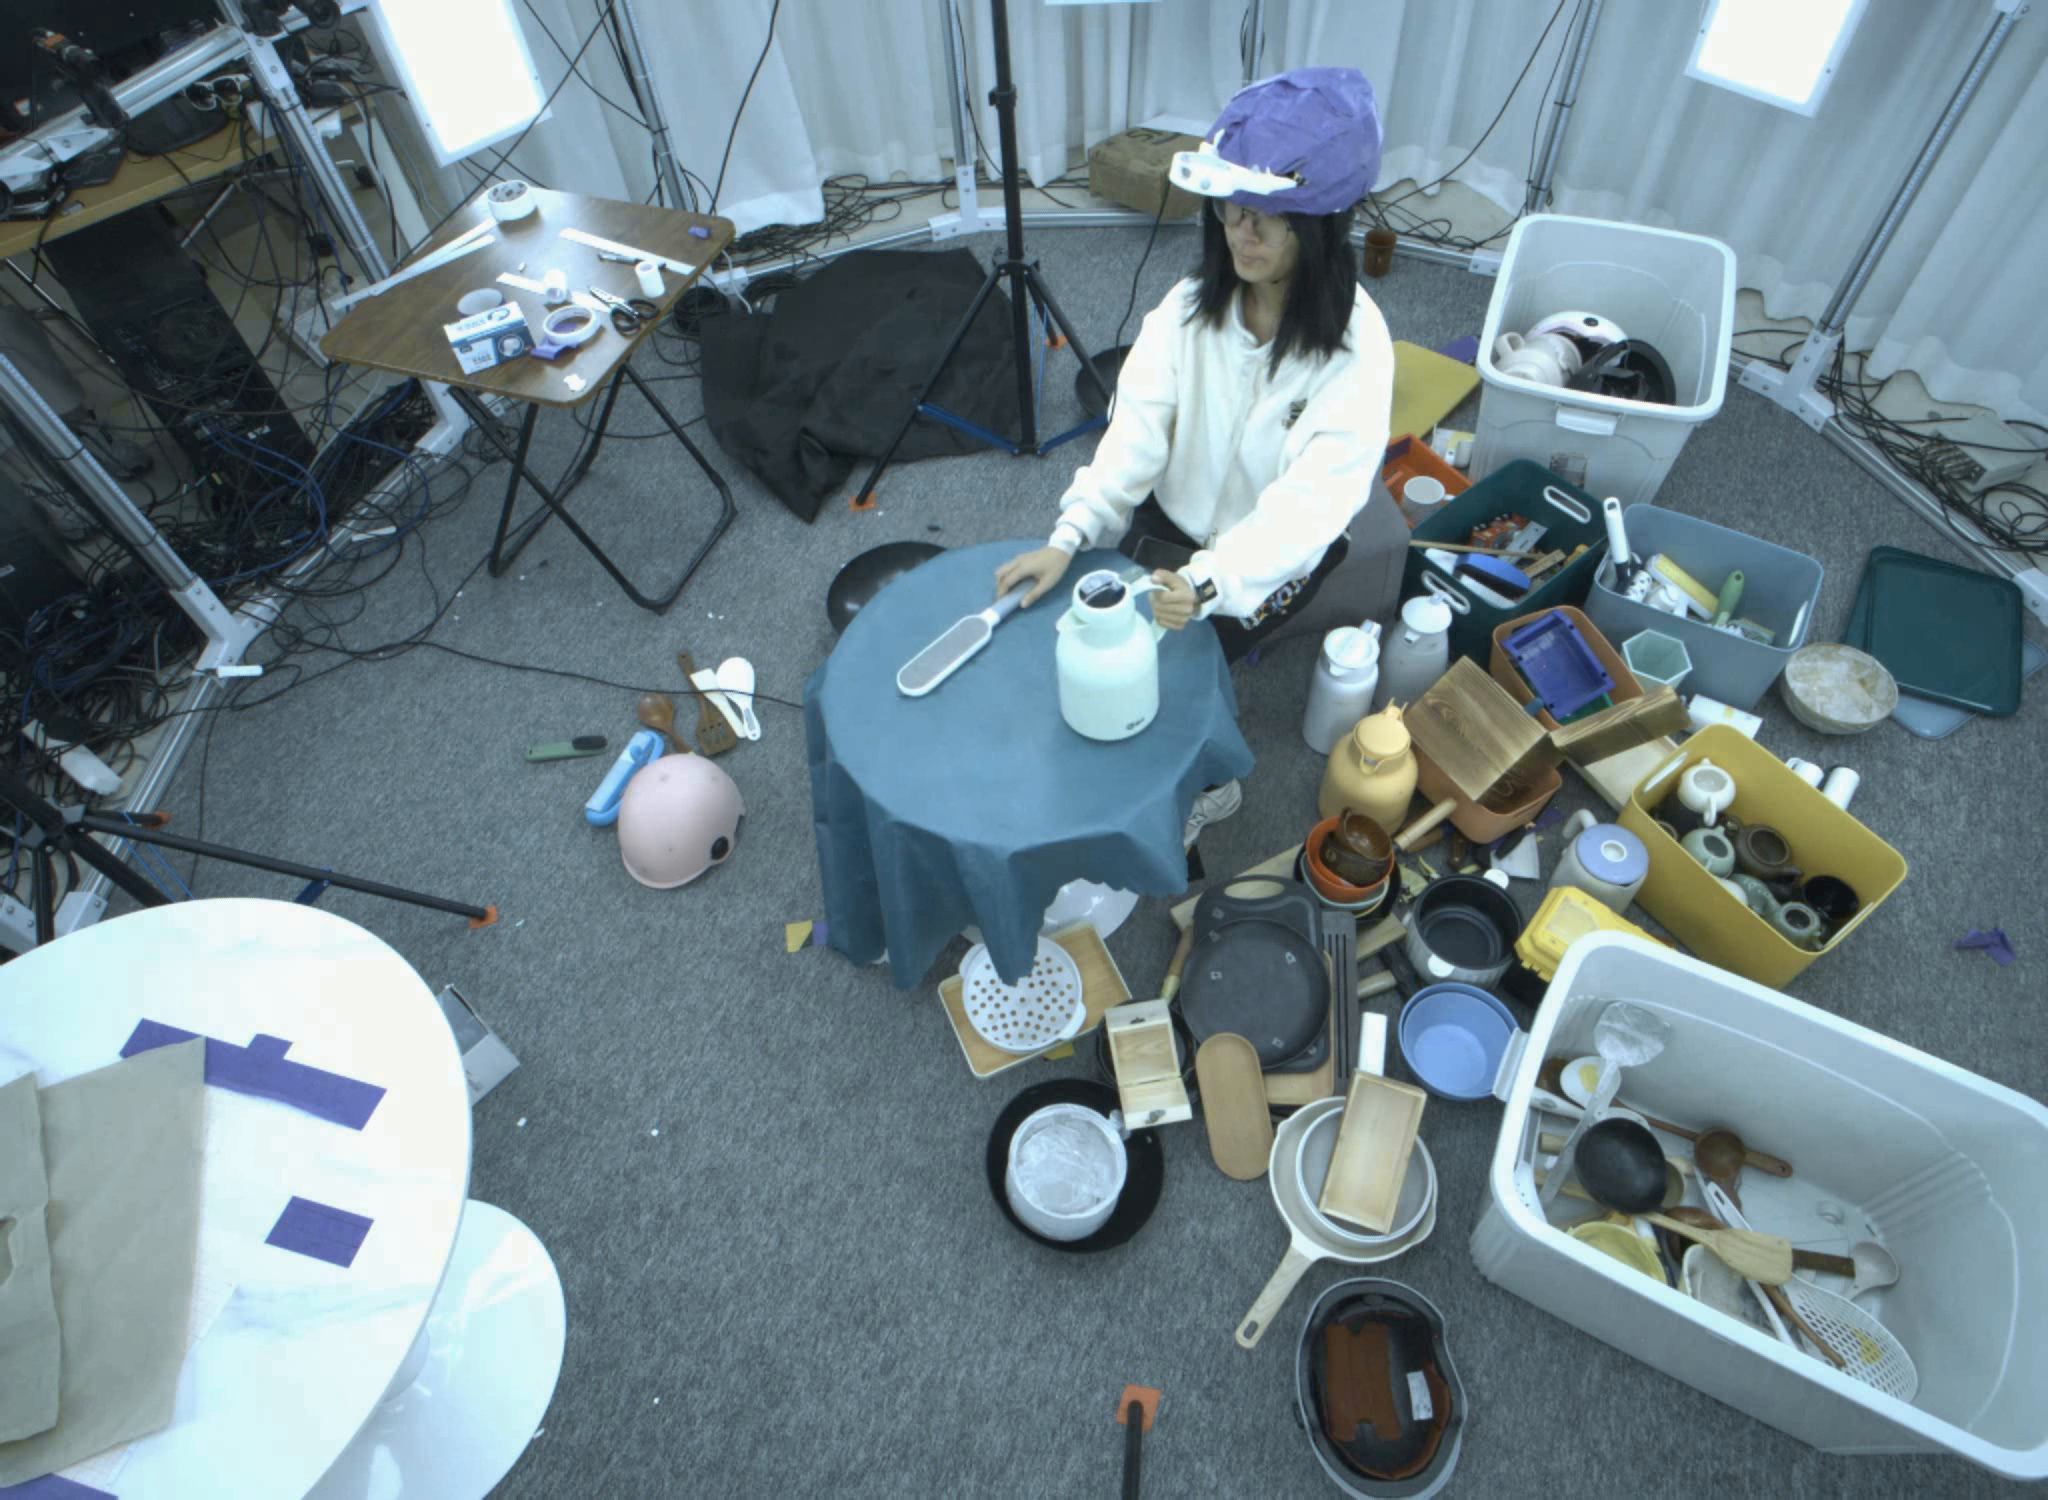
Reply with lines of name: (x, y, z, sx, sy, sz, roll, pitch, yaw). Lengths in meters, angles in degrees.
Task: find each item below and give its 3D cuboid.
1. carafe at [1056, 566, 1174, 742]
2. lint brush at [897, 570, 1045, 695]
carafe: (0.127, -0.142, 1.728, 0.188, 0.259, 0.141, -30, 56, -18)
lint brush: (-0.077, -0.185, 1.902, 0.059, 0.021, 0.311, 36, 65, 26)
